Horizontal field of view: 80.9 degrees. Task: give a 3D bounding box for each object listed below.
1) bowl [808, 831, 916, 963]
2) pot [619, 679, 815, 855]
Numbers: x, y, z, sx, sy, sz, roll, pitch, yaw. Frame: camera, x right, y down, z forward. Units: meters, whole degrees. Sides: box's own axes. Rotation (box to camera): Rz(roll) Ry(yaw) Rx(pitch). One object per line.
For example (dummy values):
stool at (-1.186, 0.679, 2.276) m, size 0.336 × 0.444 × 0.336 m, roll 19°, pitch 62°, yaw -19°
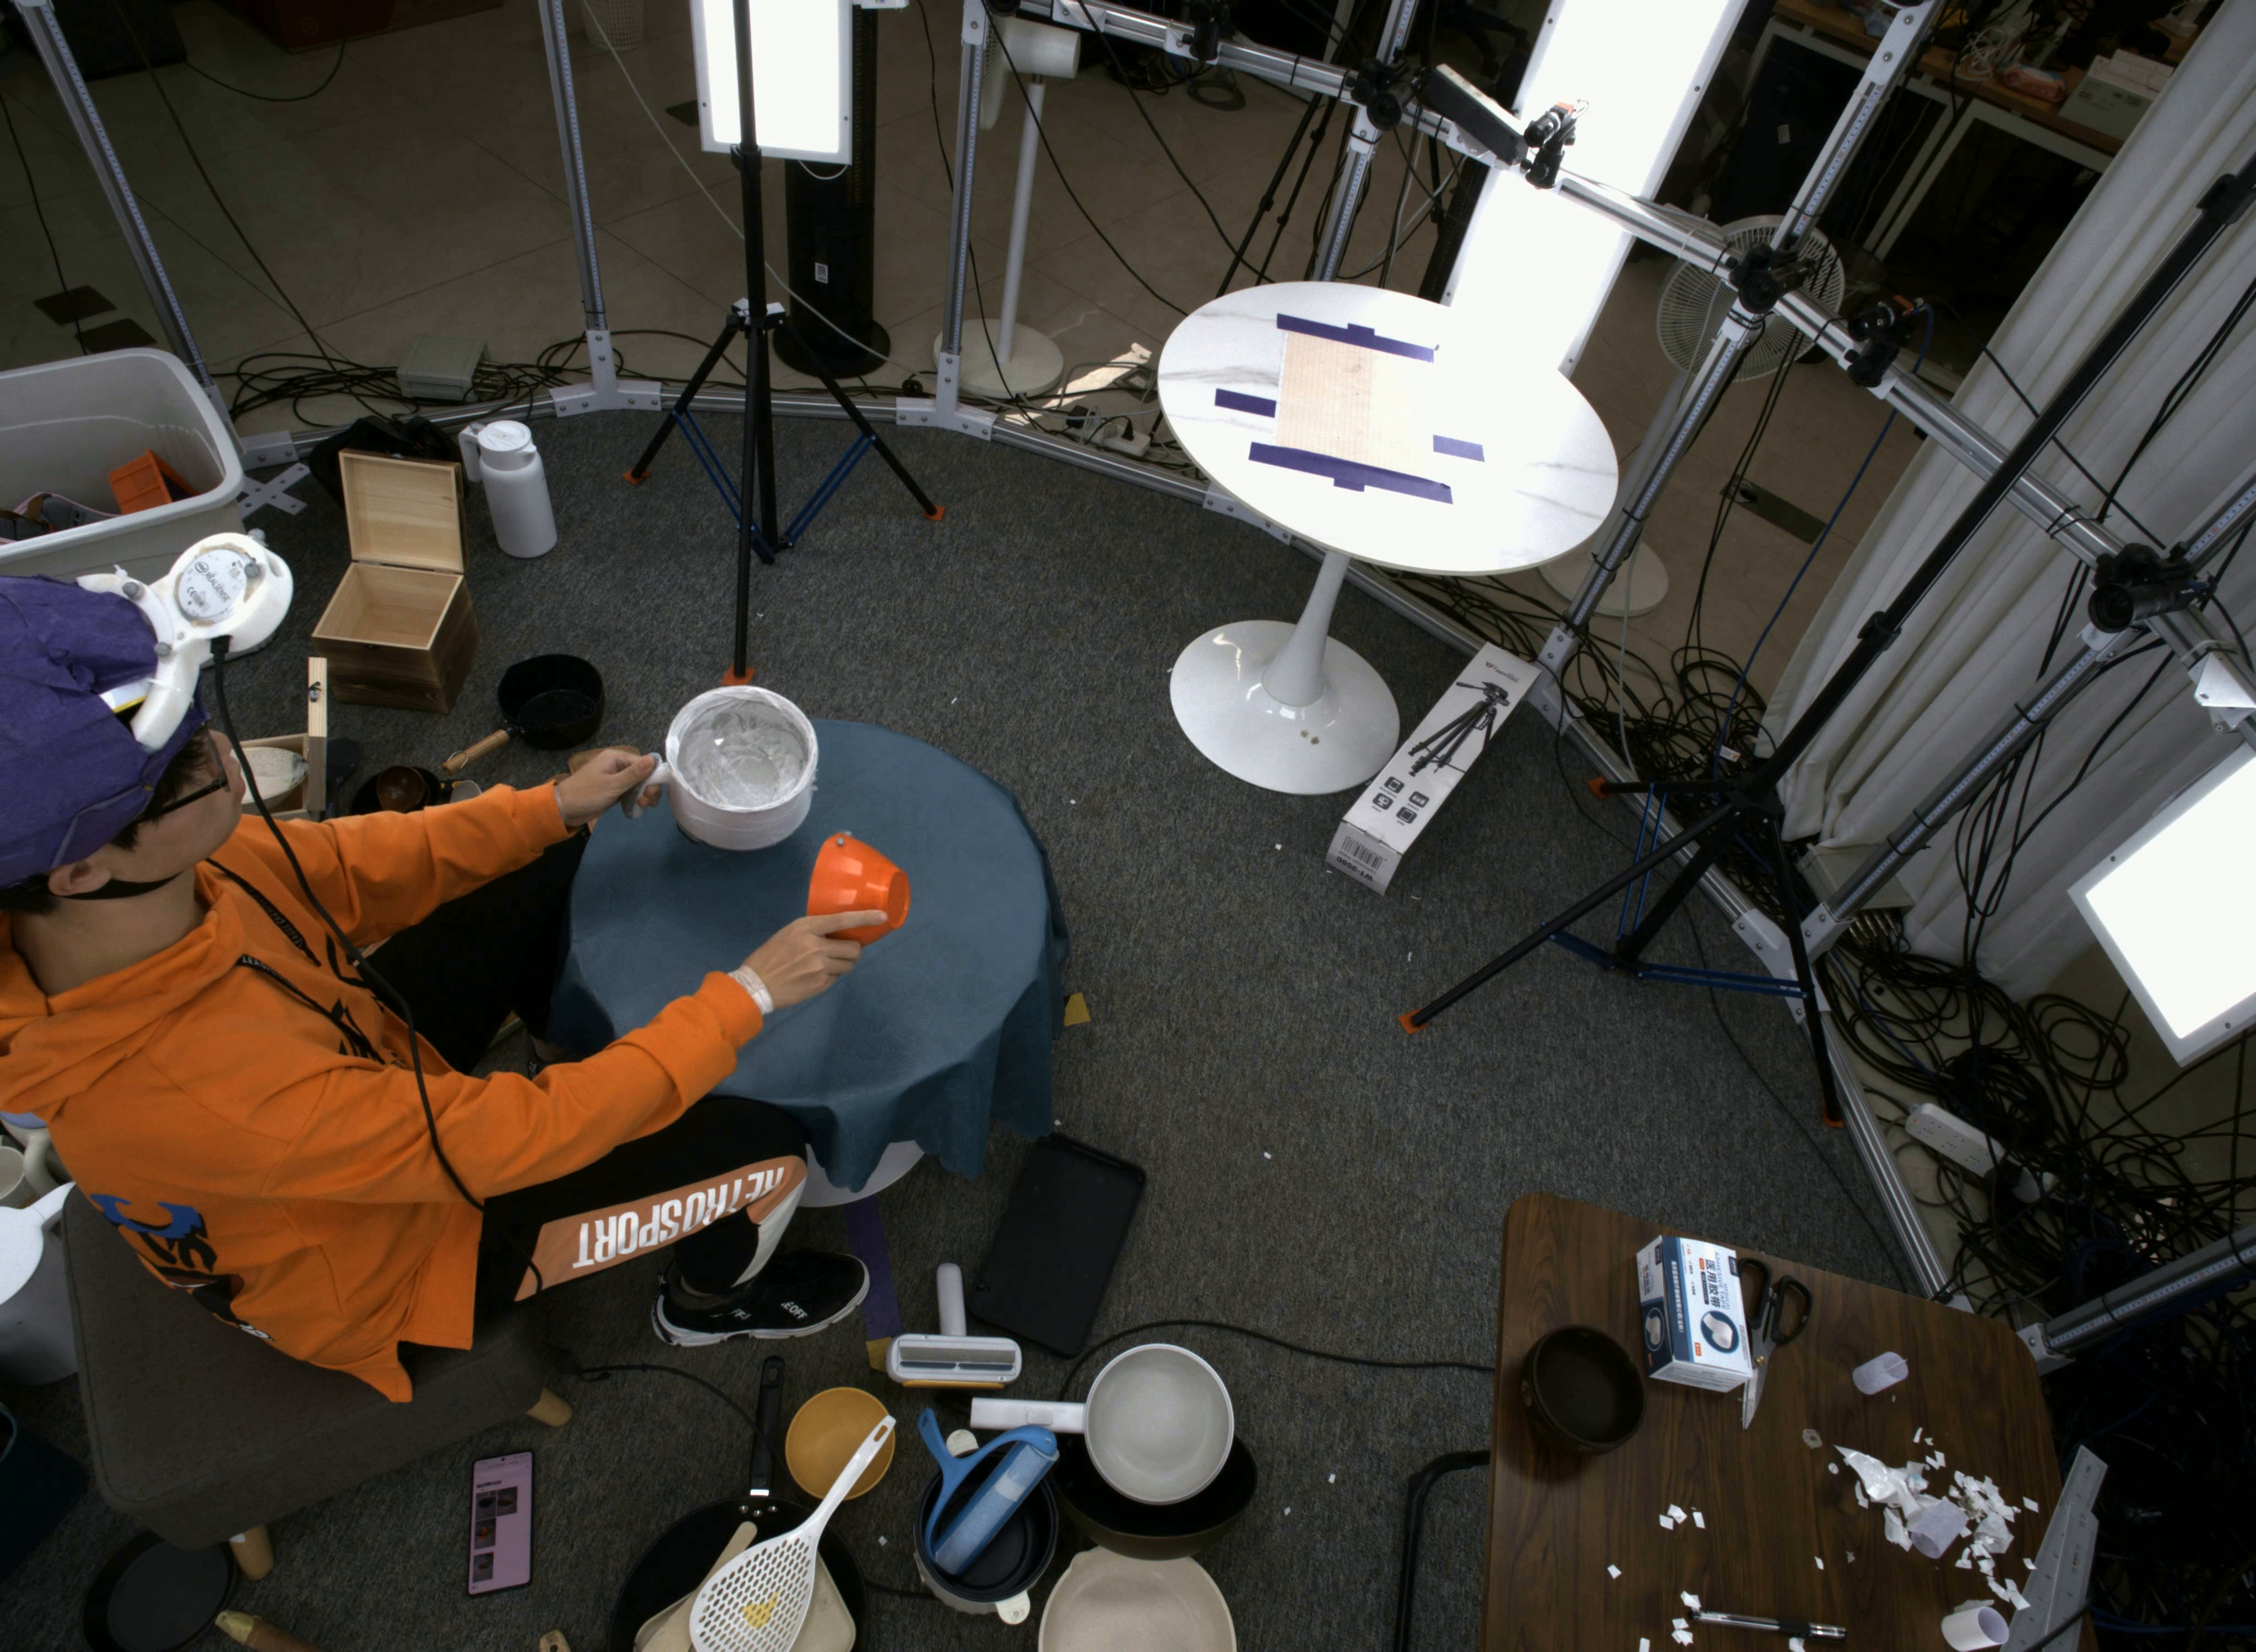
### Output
bowl at (-0.294, 0.077, 1.461) m, size 0.102 × 0.154 × 0.146 m, roll -2°, pitch 49°, yaw 16°
pot at (-0.499, -0.062, 1.559) m, size 0.235 × 0.138 × 0.176 m, roll -11°, pitch 66°, yaw -25°
